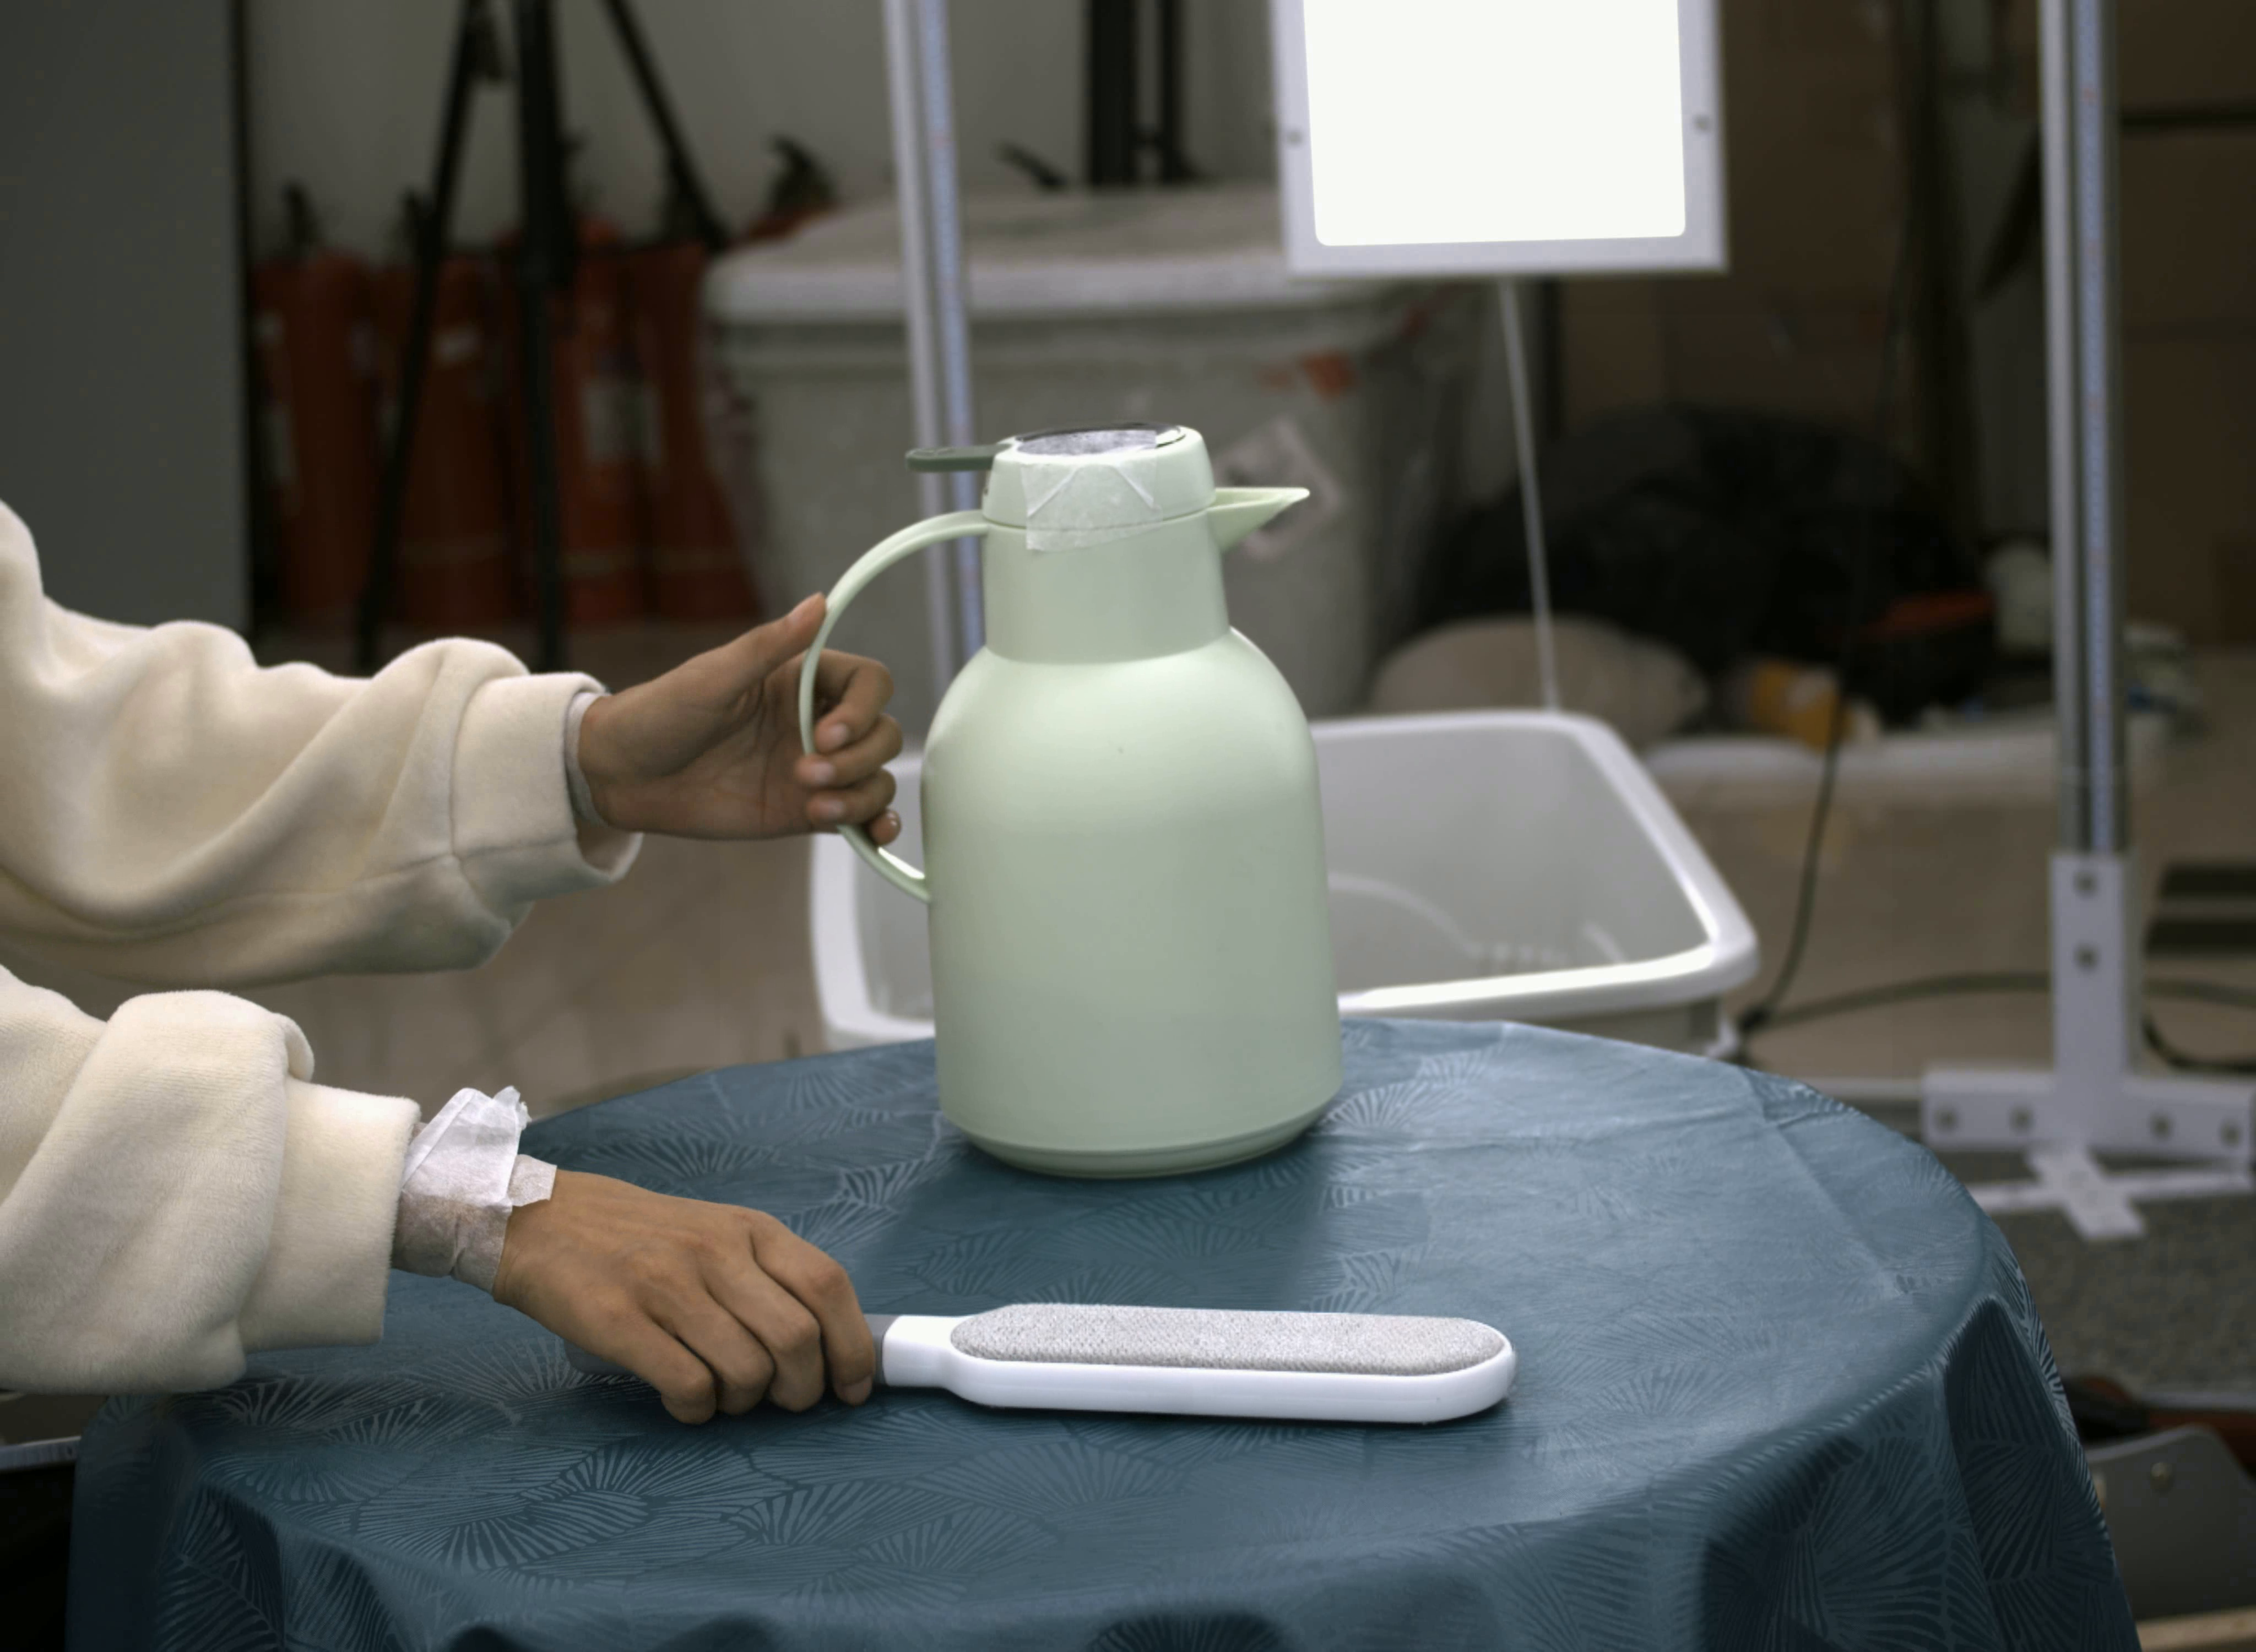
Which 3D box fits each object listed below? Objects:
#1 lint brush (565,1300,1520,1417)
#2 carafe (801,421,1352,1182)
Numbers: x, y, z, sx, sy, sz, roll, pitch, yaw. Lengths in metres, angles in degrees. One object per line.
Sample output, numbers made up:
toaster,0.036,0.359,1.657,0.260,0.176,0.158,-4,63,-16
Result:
lint brush,-0.030,0.163,1.708,0.313,0.021,0.059,0,17,19
carafe,-0.016,-0.011,1.941,0.186,0.257,0.144,-8,15,1
